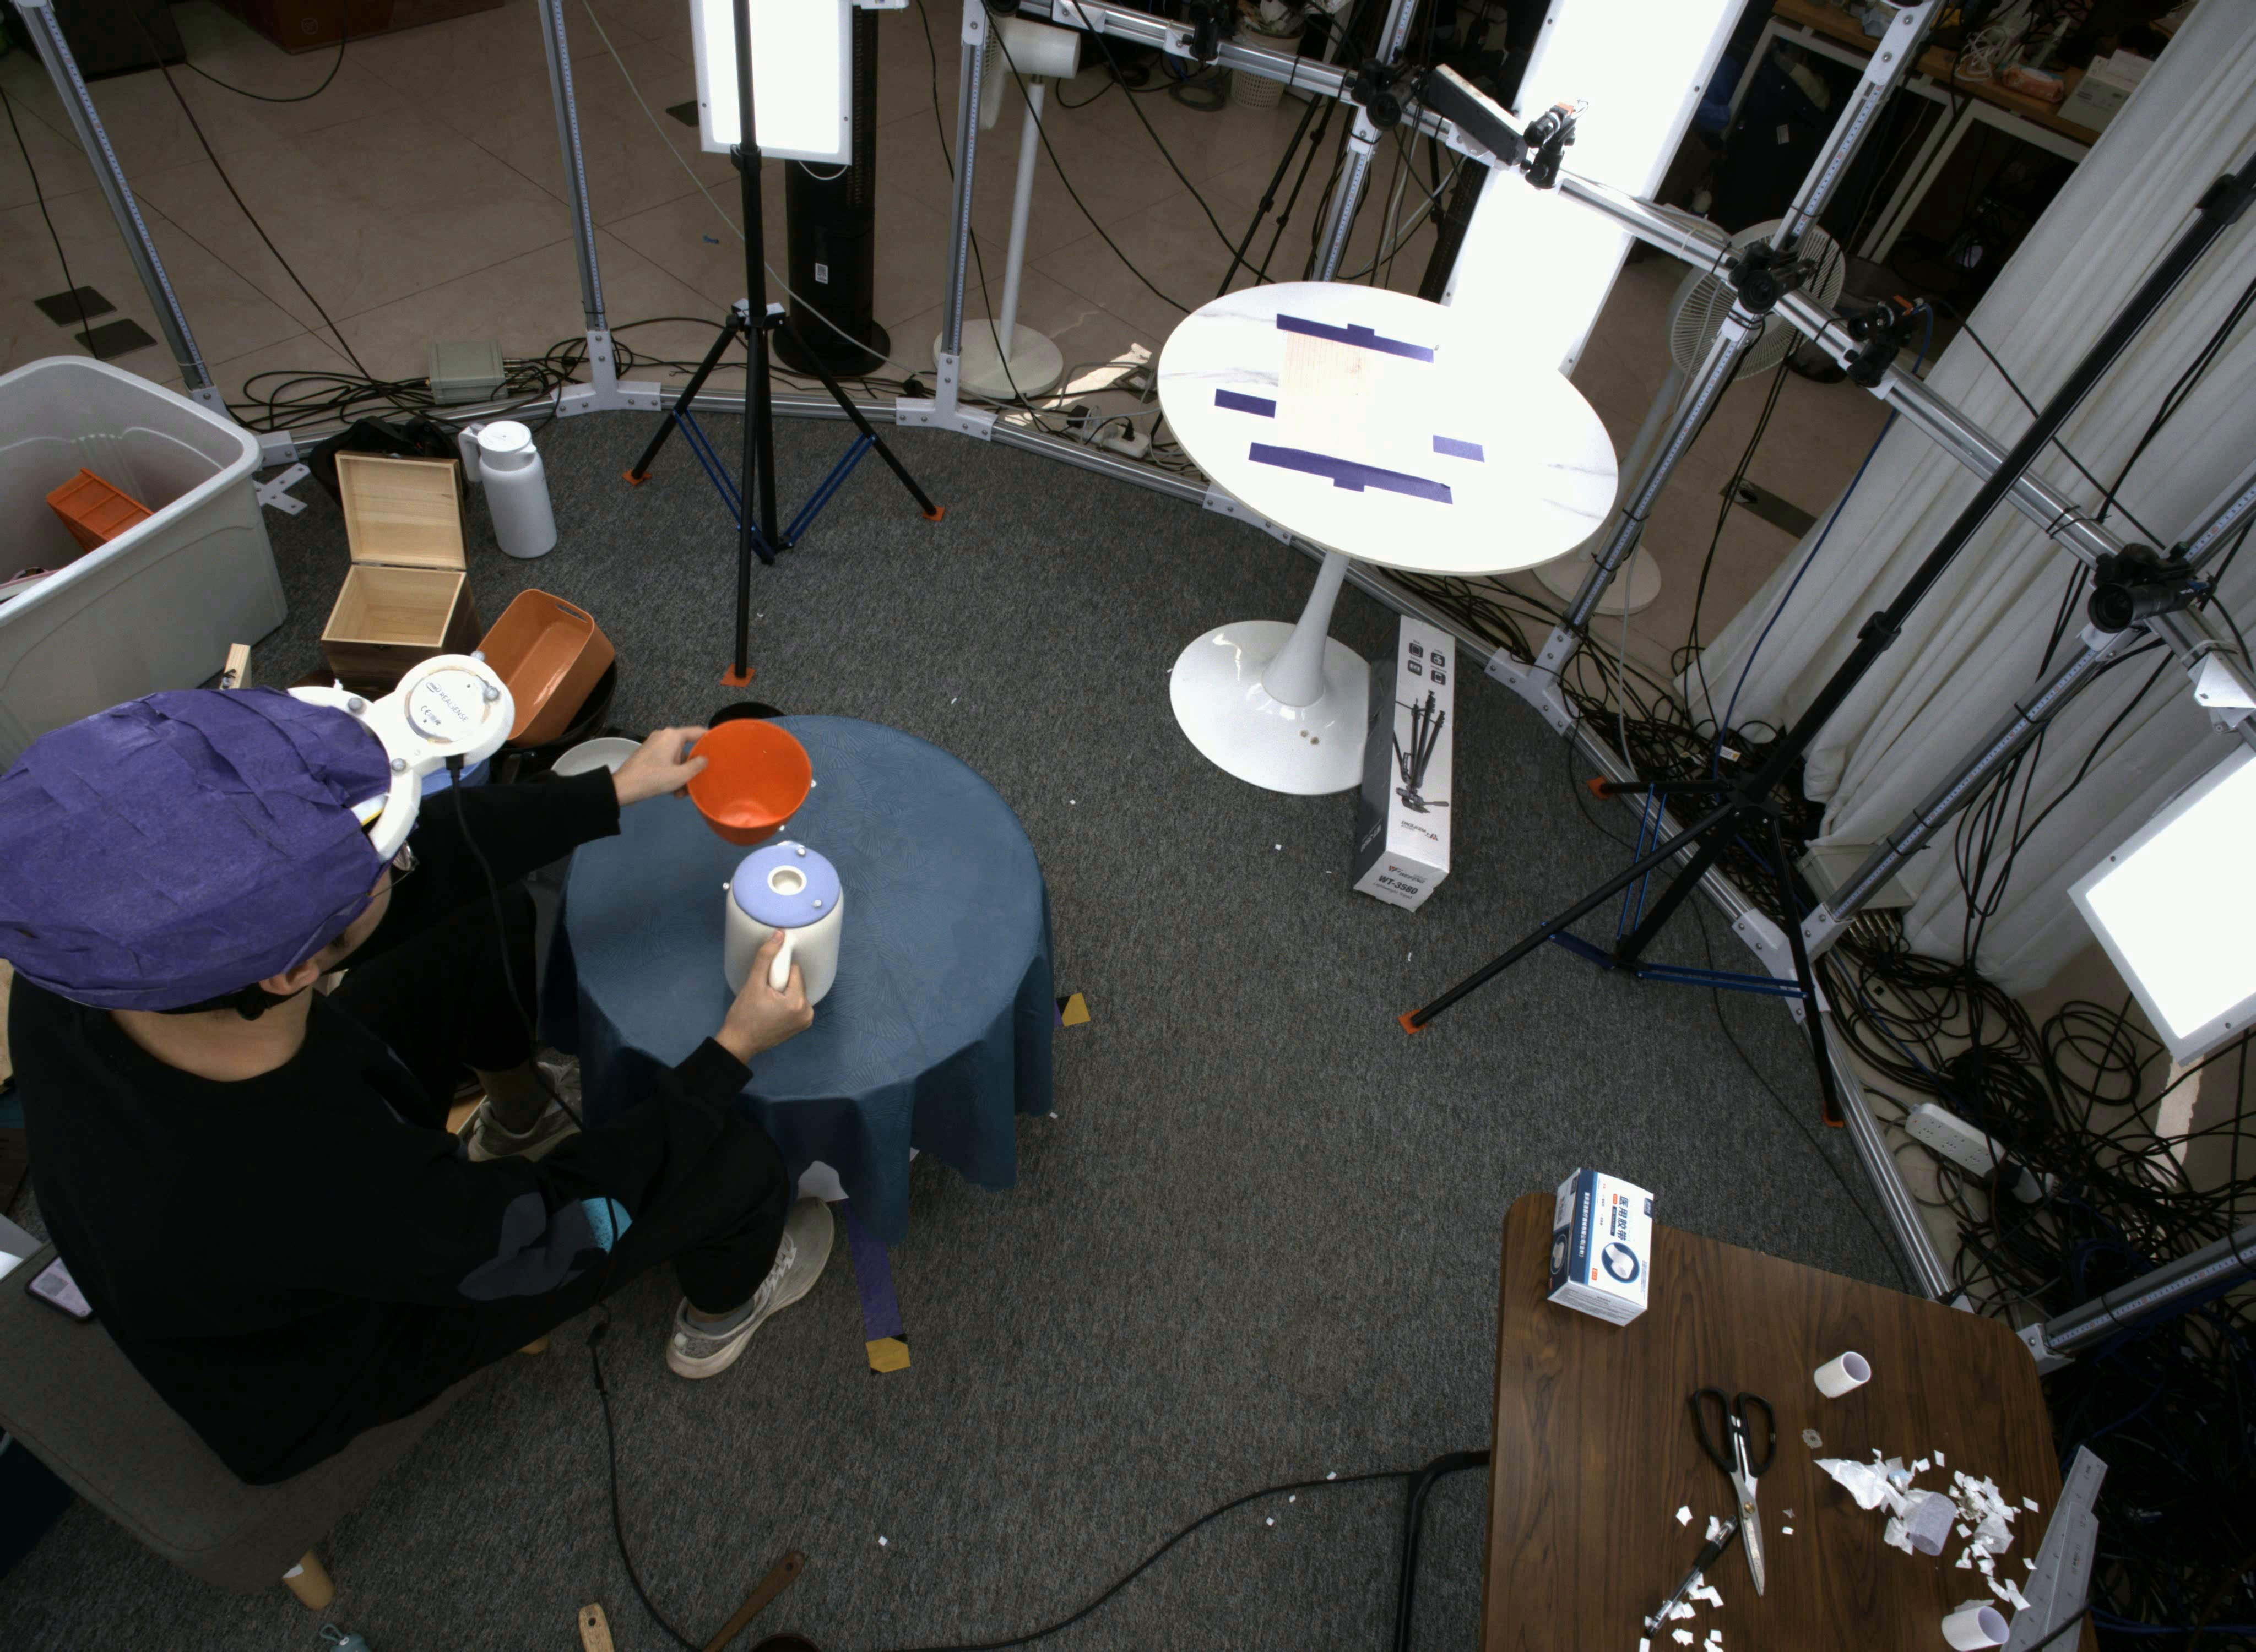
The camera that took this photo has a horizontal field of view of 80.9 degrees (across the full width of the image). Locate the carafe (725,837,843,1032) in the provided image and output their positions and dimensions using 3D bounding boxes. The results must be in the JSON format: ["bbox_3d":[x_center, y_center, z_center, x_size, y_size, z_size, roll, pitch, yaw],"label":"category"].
[{"bbox_3d":[-0.397,0.136,1.490,0.133,0.186,0.187,2,51,-15],"label":"carafe"}]

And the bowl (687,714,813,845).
[{"bbox_3d":[-0.463,-0.045,1.574,0.149,0.106,0.145,12,51,-14],"label":"bowl"}]
